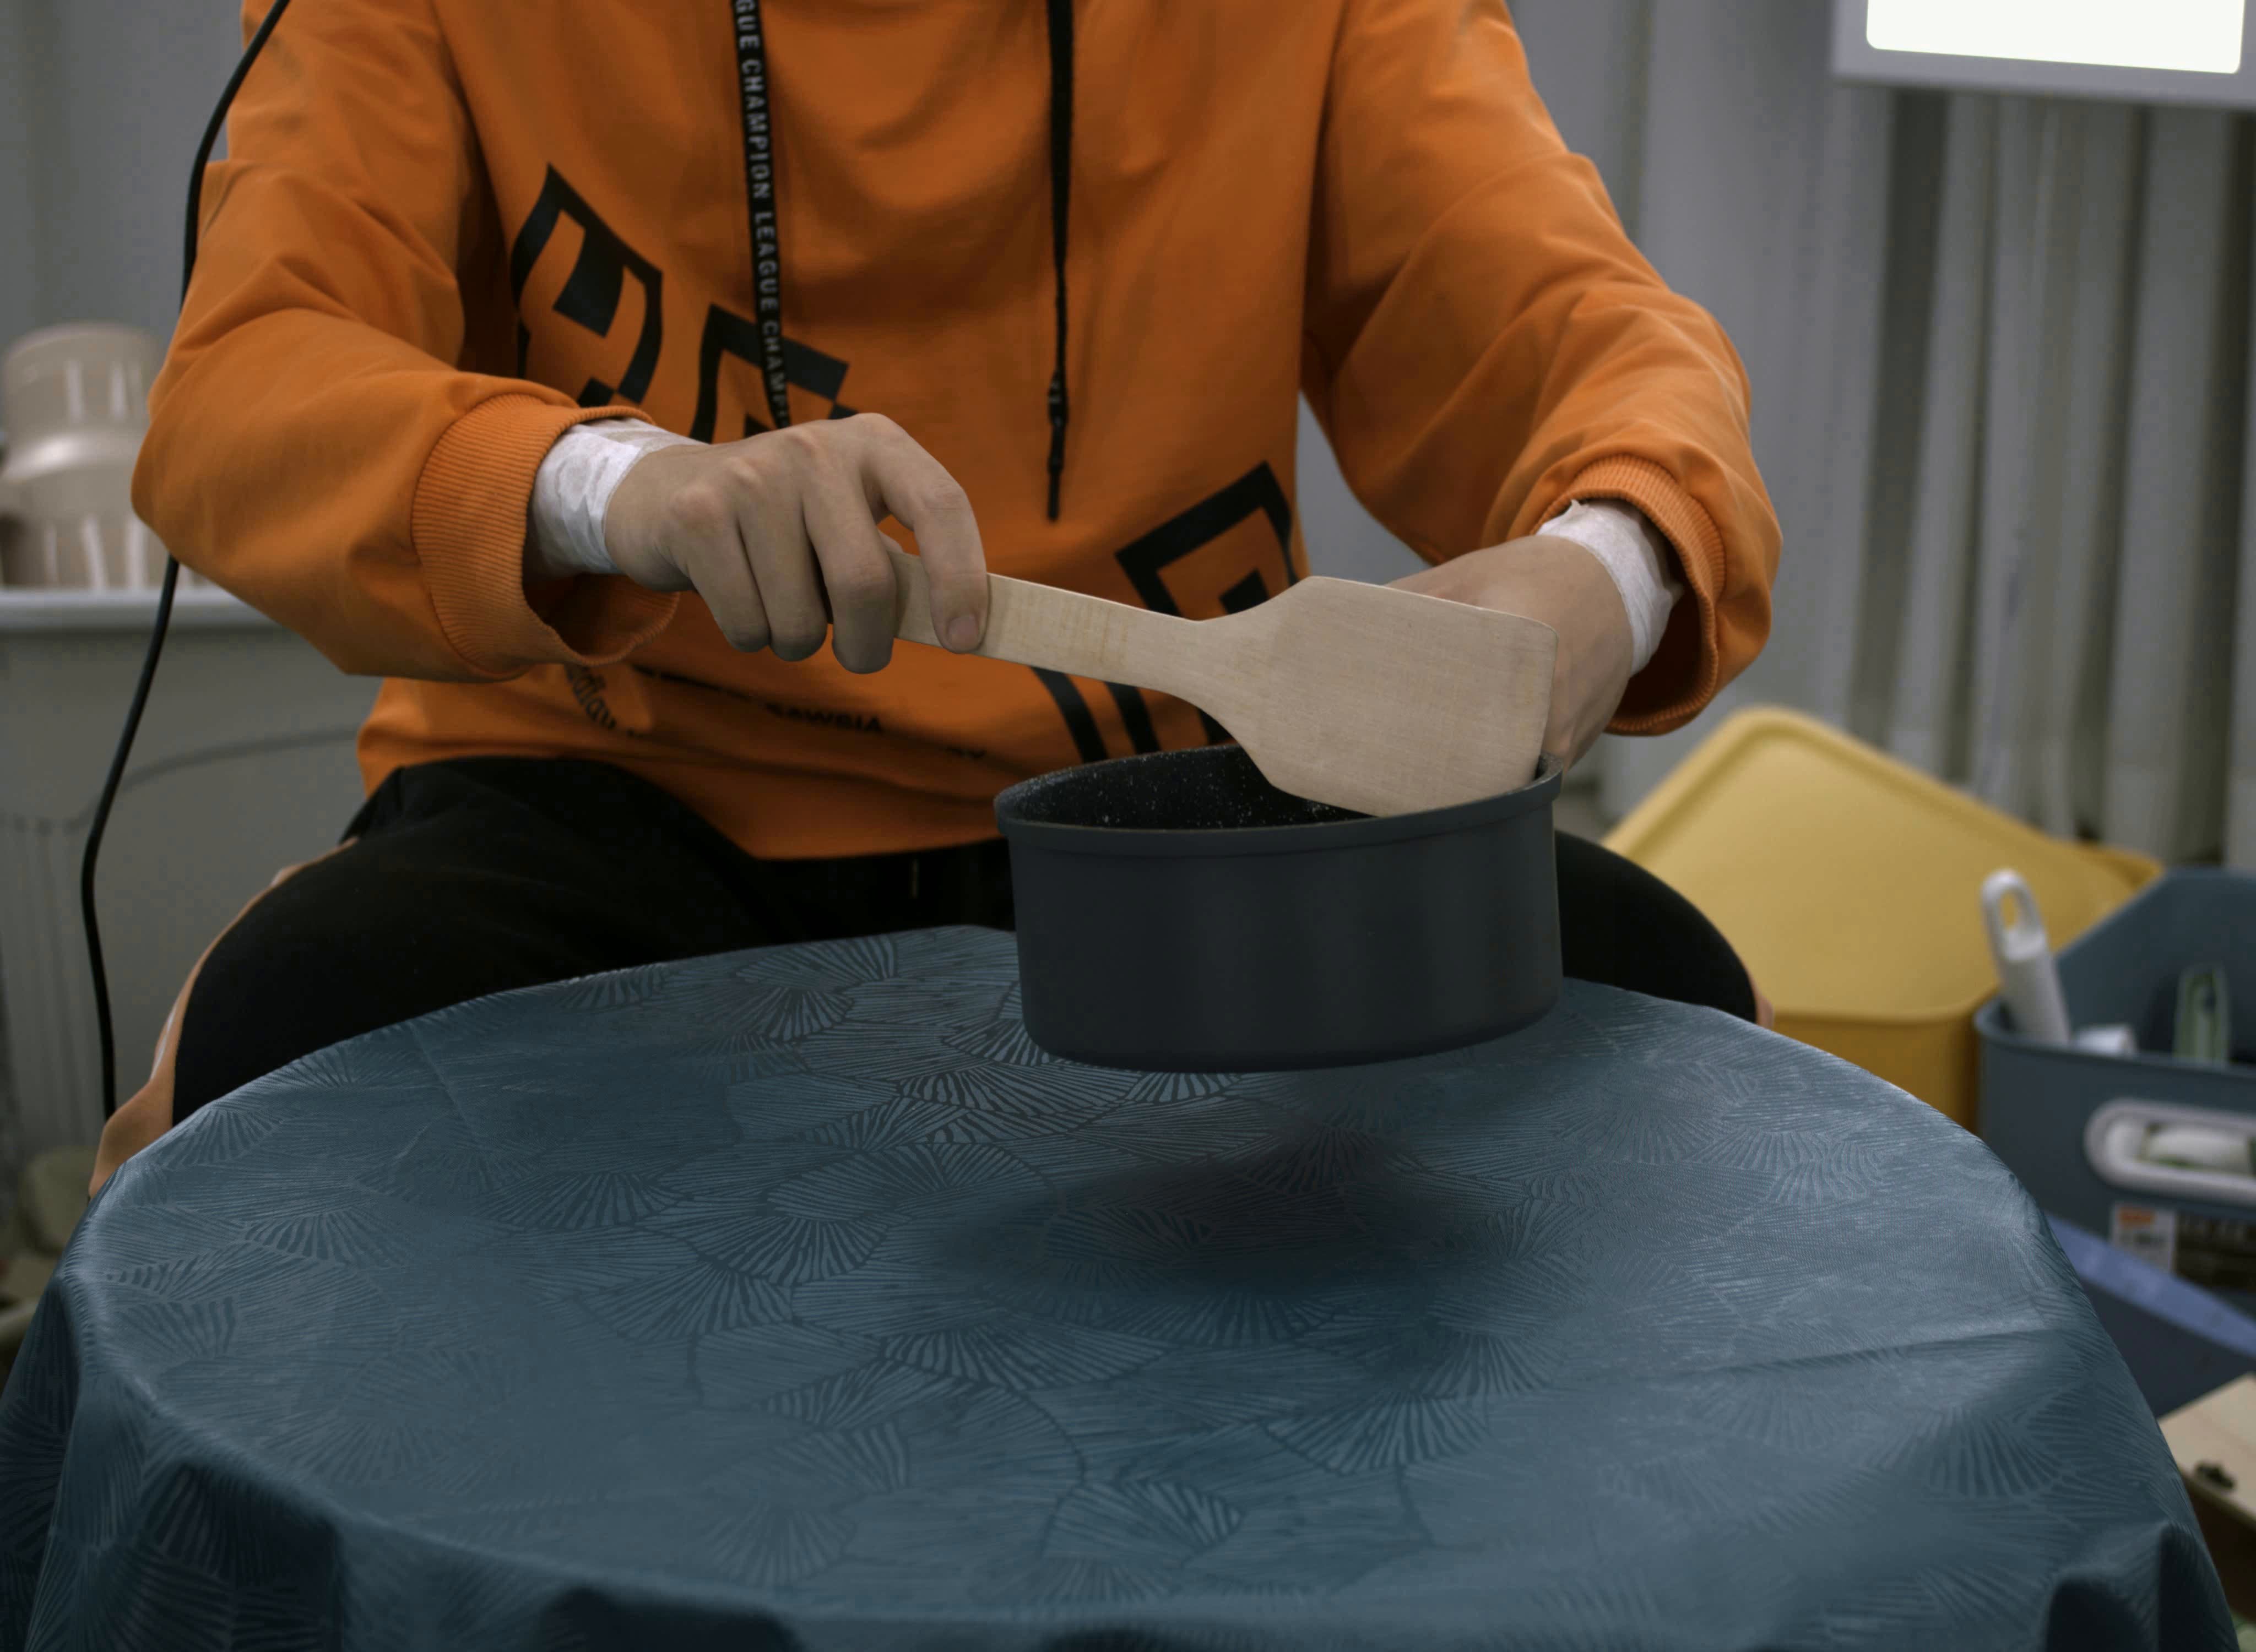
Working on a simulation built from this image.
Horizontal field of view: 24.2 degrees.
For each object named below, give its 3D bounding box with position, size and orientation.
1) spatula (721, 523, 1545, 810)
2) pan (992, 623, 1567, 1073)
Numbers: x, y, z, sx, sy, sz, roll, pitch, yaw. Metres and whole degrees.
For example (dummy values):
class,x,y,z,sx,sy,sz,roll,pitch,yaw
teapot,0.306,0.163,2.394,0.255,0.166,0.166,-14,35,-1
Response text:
class,x,y,z,sx,sy,sz,roll,pitch,yaw
spatula,-0.006,-0.059,1.644,0.289,0.072,0.011,13,9,27
pan,0.073,0.005,1.651,0.170,0.087,0.329,1,12,20
